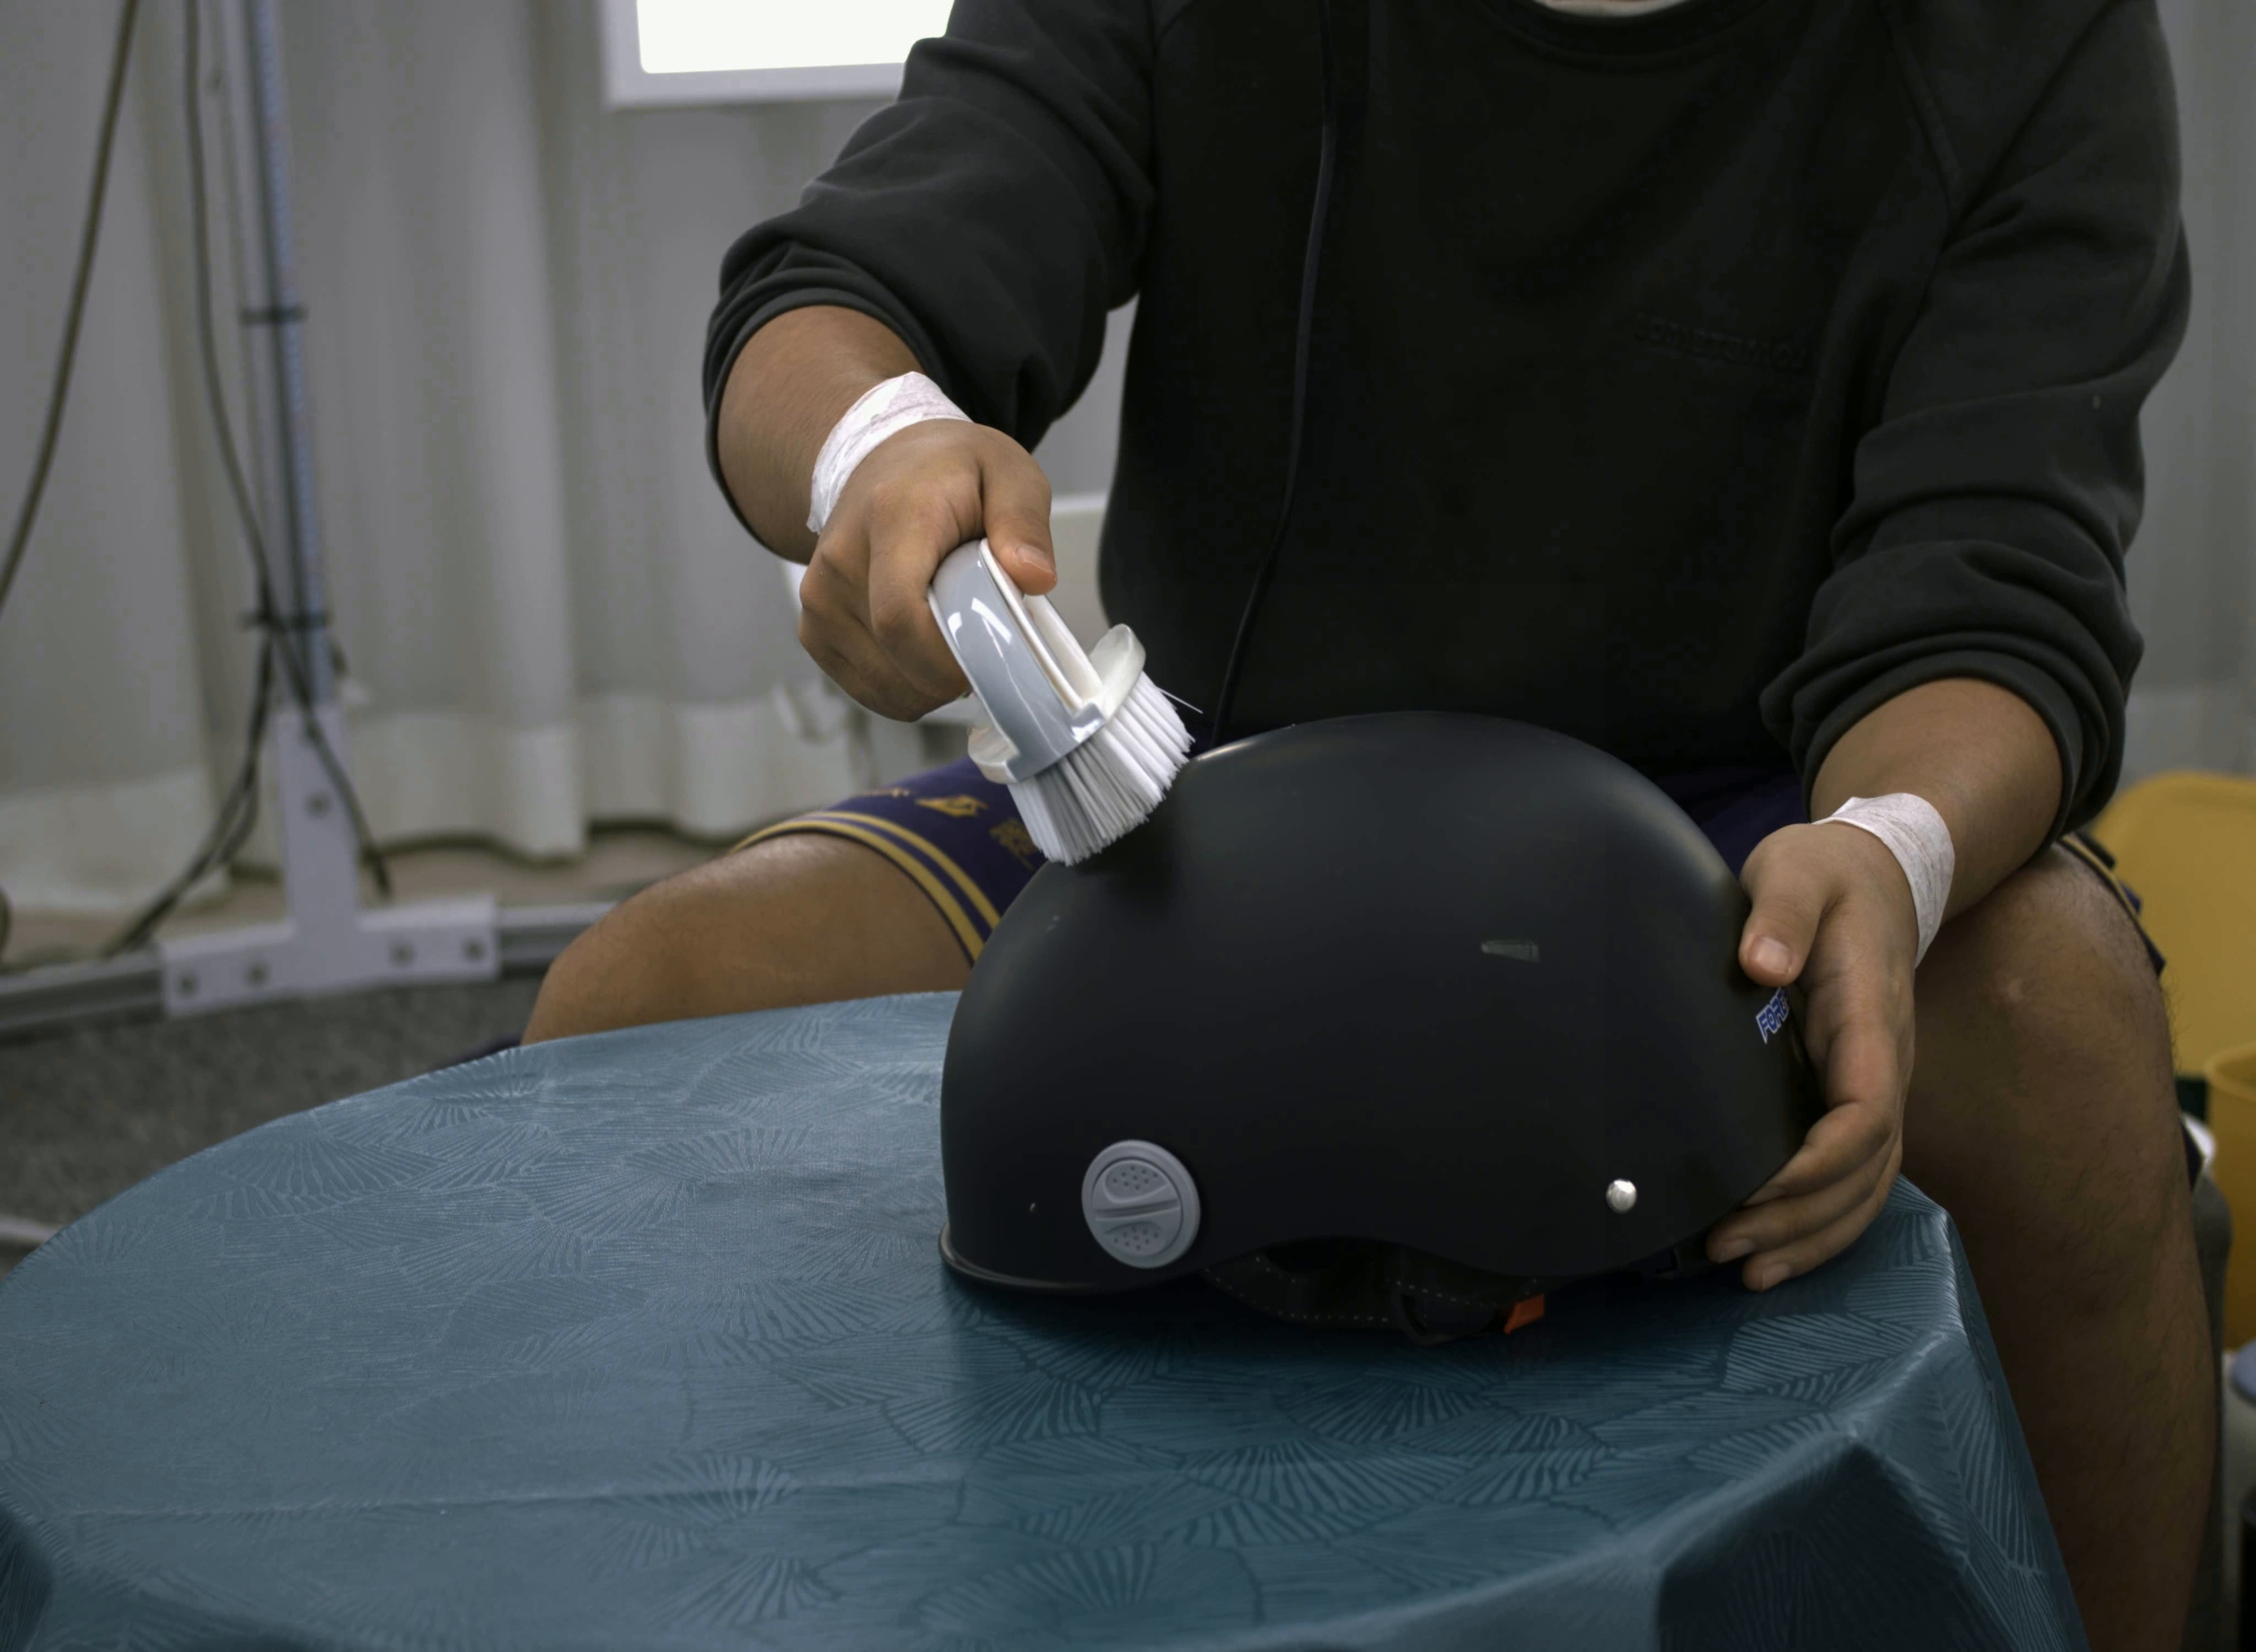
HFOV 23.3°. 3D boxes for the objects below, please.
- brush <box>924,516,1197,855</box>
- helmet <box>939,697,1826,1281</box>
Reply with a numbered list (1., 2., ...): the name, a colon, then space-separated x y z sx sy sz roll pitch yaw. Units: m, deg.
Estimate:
1. brush: -0.025 -0.047 1.643 0.061 0.094 0.176 -34 10 7
2. helmet: 0.070 0.046 1.642 0.273 0.166 0.230 -1 12 19
